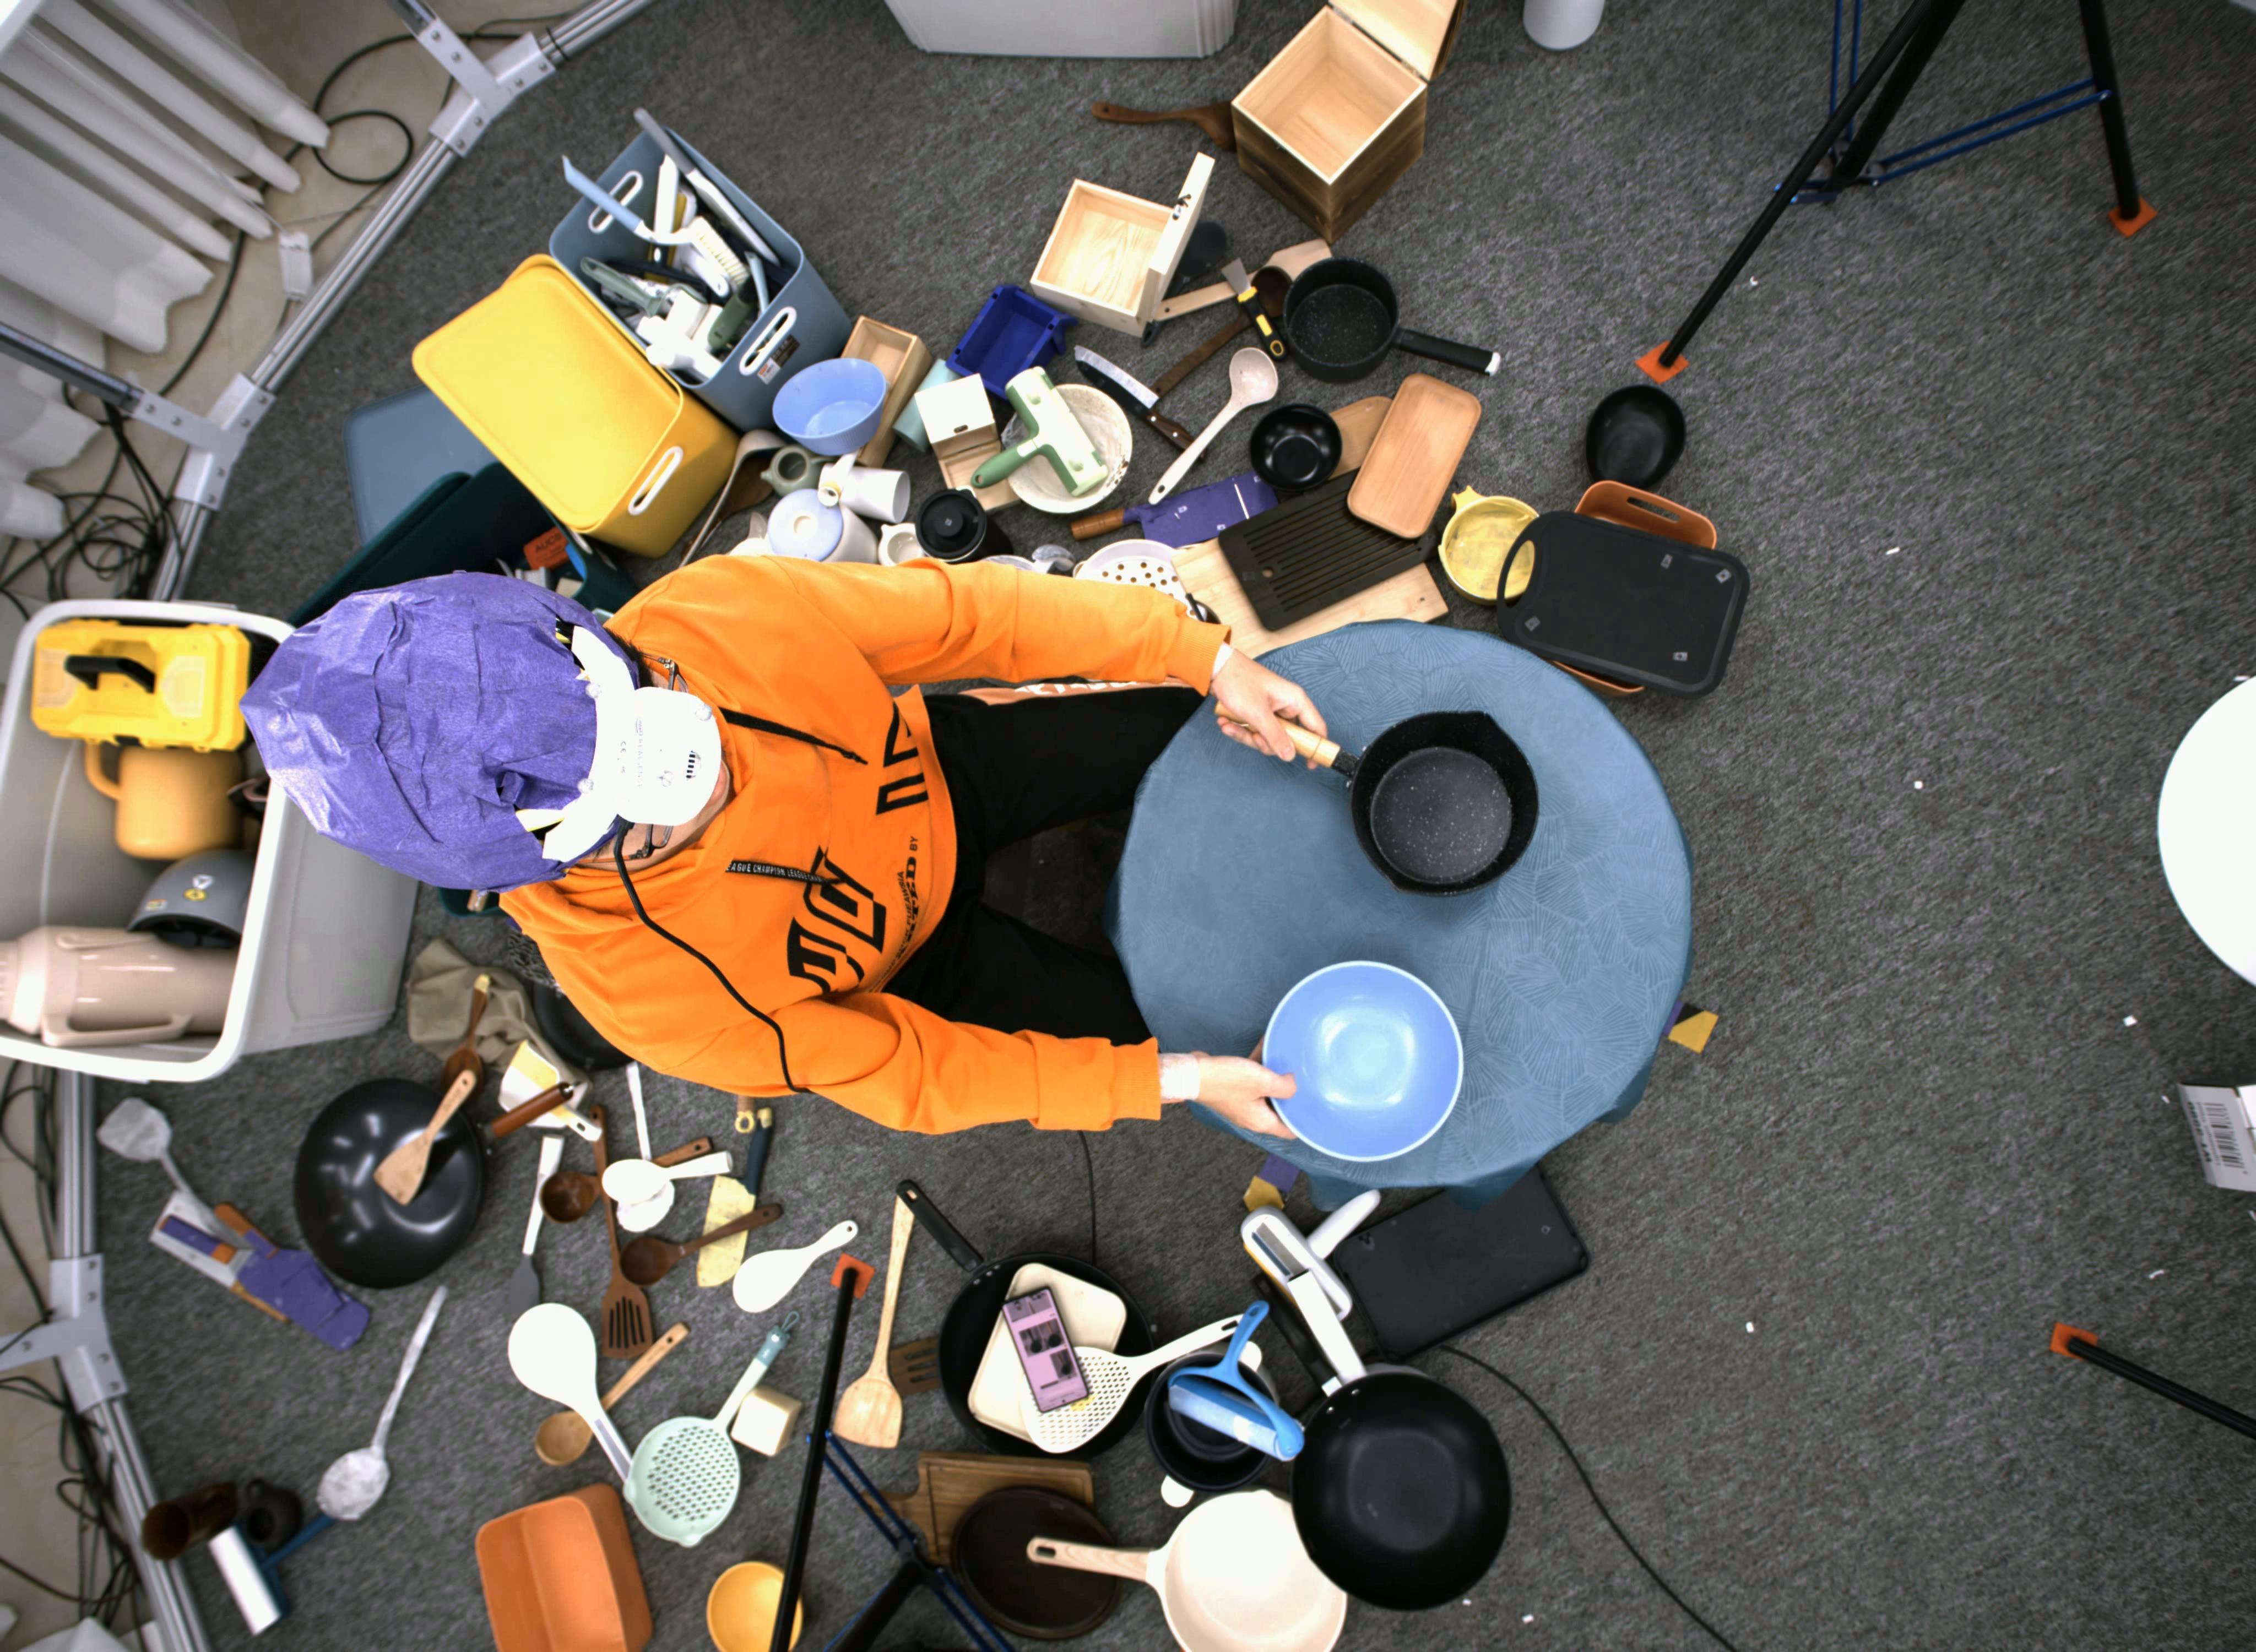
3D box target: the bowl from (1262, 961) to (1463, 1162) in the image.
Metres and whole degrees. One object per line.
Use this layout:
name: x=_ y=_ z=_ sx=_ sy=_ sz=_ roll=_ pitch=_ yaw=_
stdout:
bowl: x=0.238 y=0.234 z=1.407 sx=0.197 sy=0.095 sz=0.196 roll=-1 pitch=88 yaw=11

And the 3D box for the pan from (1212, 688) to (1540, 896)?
pan: x=0.244 y=-0.052 z=1.399 sx=0.342 sy=0.108 sz=0.207 roll=23 pitch=89 yaw=12
